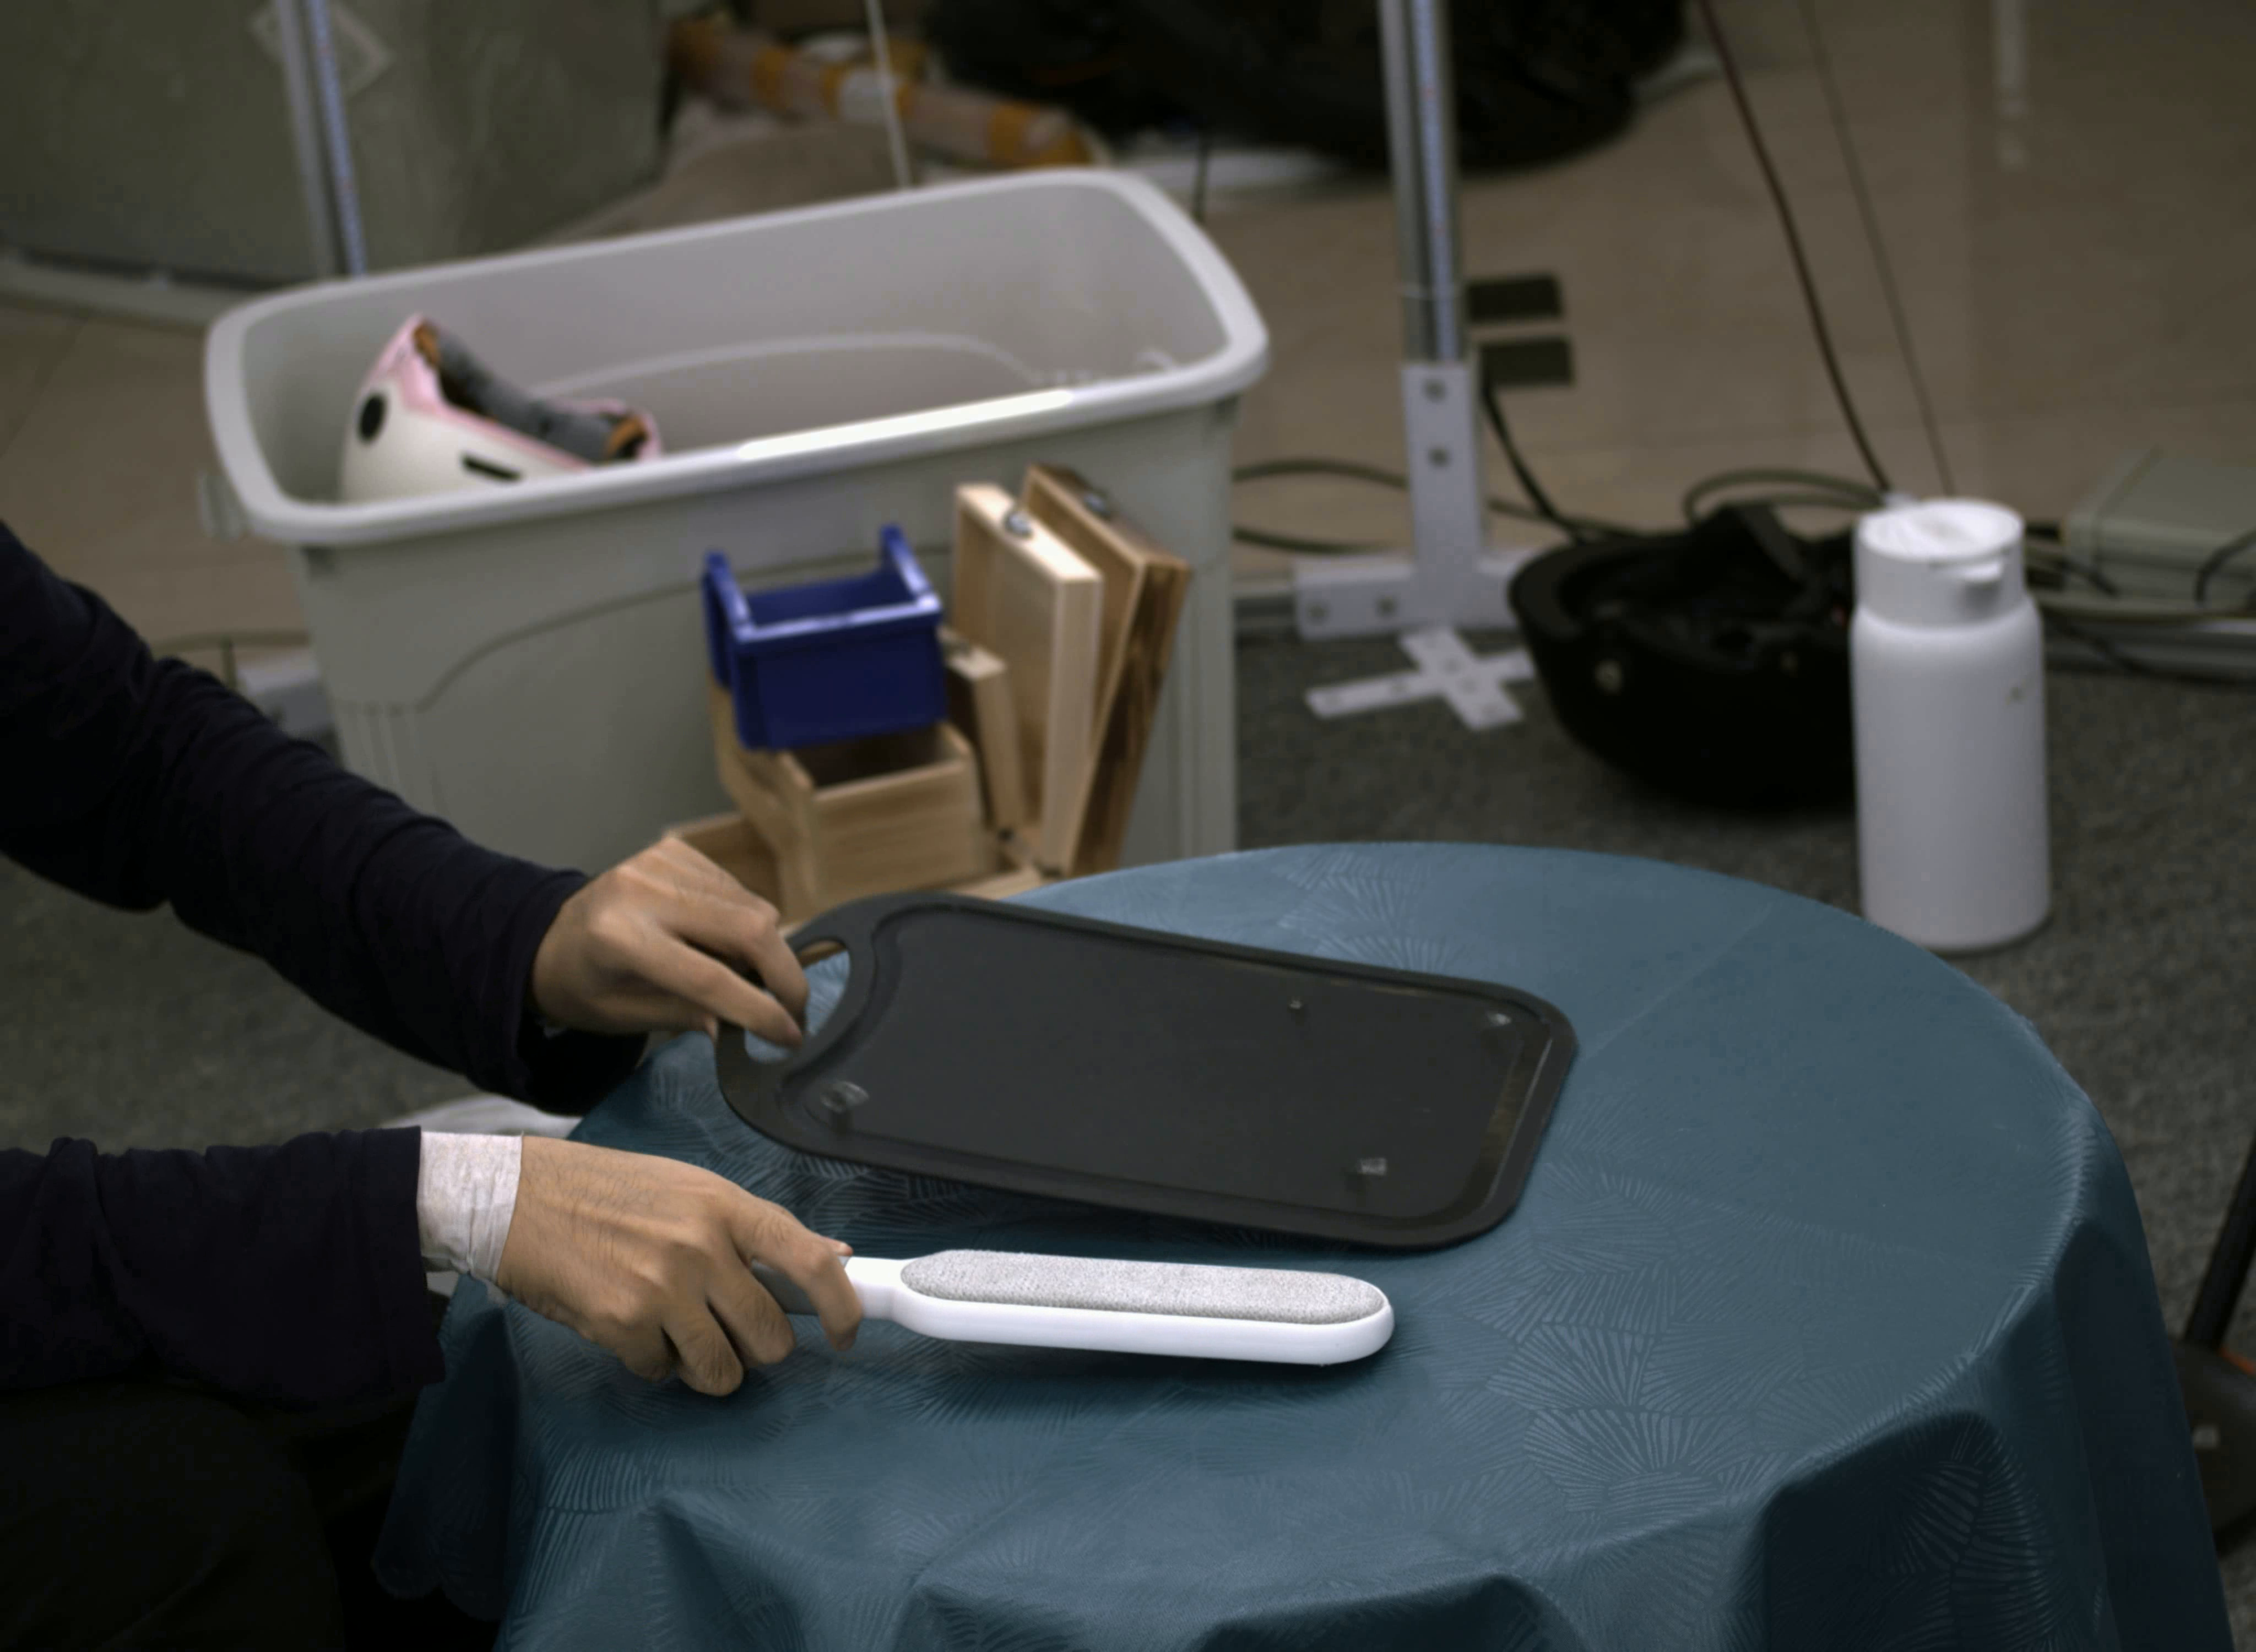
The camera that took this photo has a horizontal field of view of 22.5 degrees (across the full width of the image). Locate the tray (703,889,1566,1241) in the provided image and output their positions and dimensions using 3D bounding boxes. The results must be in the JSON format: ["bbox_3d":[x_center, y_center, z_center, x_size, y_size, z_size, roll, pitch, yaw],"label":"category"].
[{"bbox_3d":[-0.002,0.087,2.193,0.324,0.010,0.208,10,28,12],"label":"tray"}]

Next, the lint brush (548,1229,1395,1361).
[{"bbox_3d":[-0.058,0.165,2.042,0.308,0.021,0.059,4,22,8],"label":"lint brush"}]
